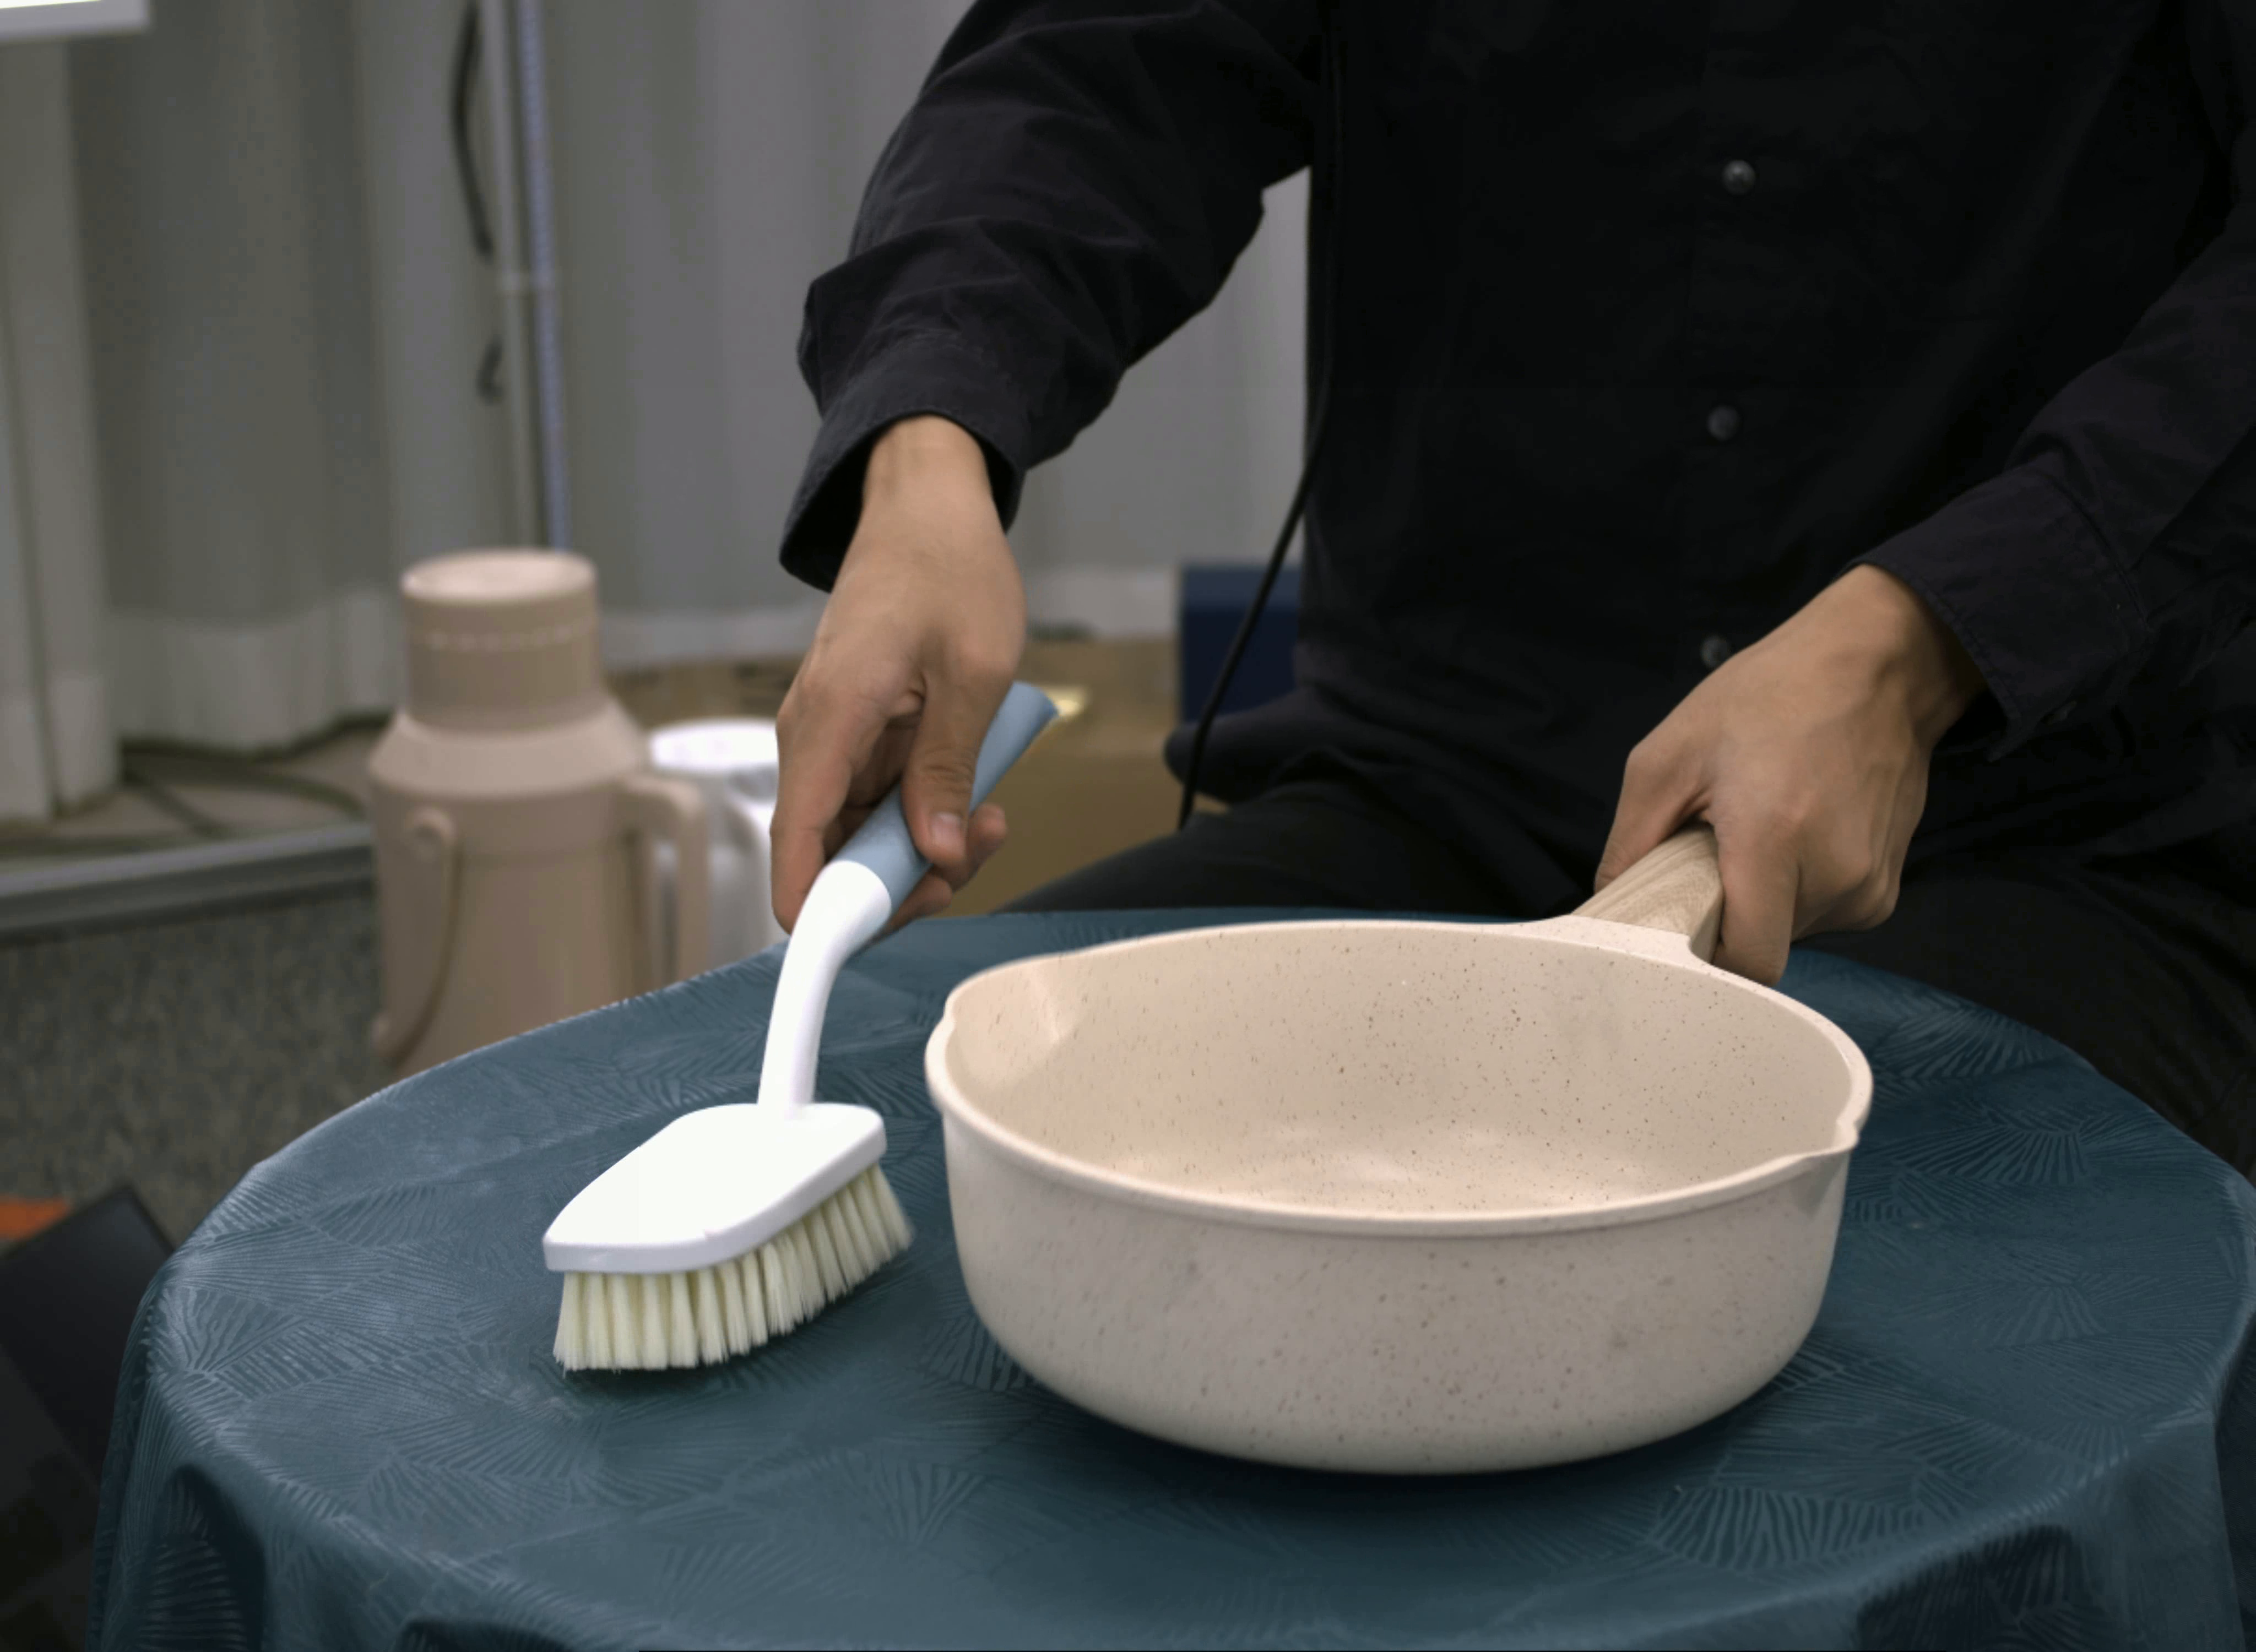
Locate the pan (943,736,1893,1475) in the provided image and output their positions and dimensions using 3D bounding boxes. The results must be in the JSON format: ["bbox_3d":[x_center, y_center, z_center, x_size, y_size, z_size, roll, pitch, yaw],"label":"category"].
[{"bbox_3d":[0.121,0.072,1.486,0.268,0.102,0.427,8,18,30],"label":"pan"}]

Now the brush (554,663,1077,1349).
[{"bbox_3d":[-0.074,0.065,1.561,0.083,0.085,0.323,32,38,5],"label":"brush"}]
